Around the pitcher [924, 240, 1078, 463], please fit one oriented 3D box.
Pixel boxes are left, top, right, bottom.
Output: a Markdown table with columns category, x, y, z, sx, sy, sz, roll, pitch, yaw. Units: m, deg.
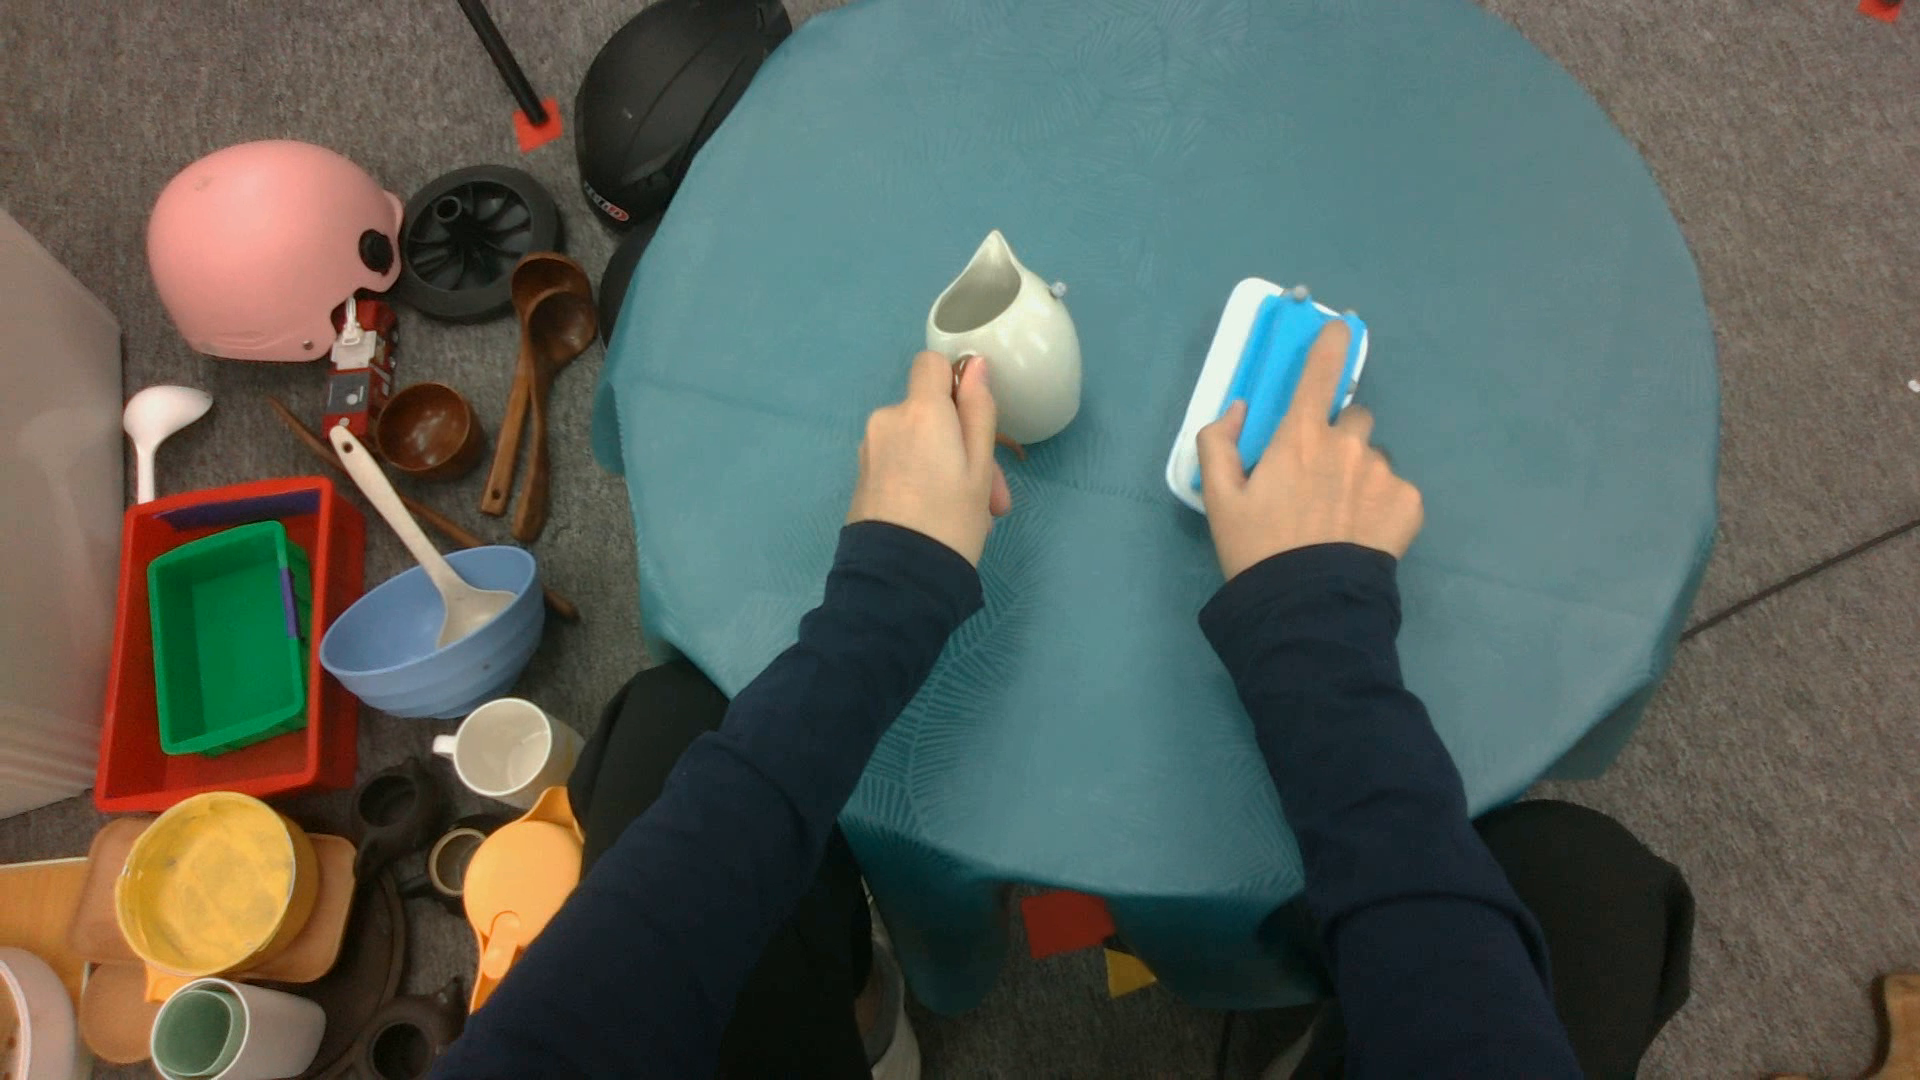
| category | x | y | z | sx | sy | sz | roll | pitch | yaw |
| --- | --- | --- | --- | --- | --- | --- | --- | --- | --- |
| pitcher | 0.021 | -0.090 | 0.728 | 0.075 | 0.087 | 0.120 | -7 | 40 | 35 |

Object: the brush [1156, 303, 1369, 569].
| category | x | y | z | sx | sy | sz | roll | pitch | yaw |
| --- | --- | --- | --- | --- | --- | --- | --- | --- | --- |
| brush | 0.163 | -0.061 | 0.716 | 0.084 | 0.056 | 0.144 | 26 | 69 | 0 |
